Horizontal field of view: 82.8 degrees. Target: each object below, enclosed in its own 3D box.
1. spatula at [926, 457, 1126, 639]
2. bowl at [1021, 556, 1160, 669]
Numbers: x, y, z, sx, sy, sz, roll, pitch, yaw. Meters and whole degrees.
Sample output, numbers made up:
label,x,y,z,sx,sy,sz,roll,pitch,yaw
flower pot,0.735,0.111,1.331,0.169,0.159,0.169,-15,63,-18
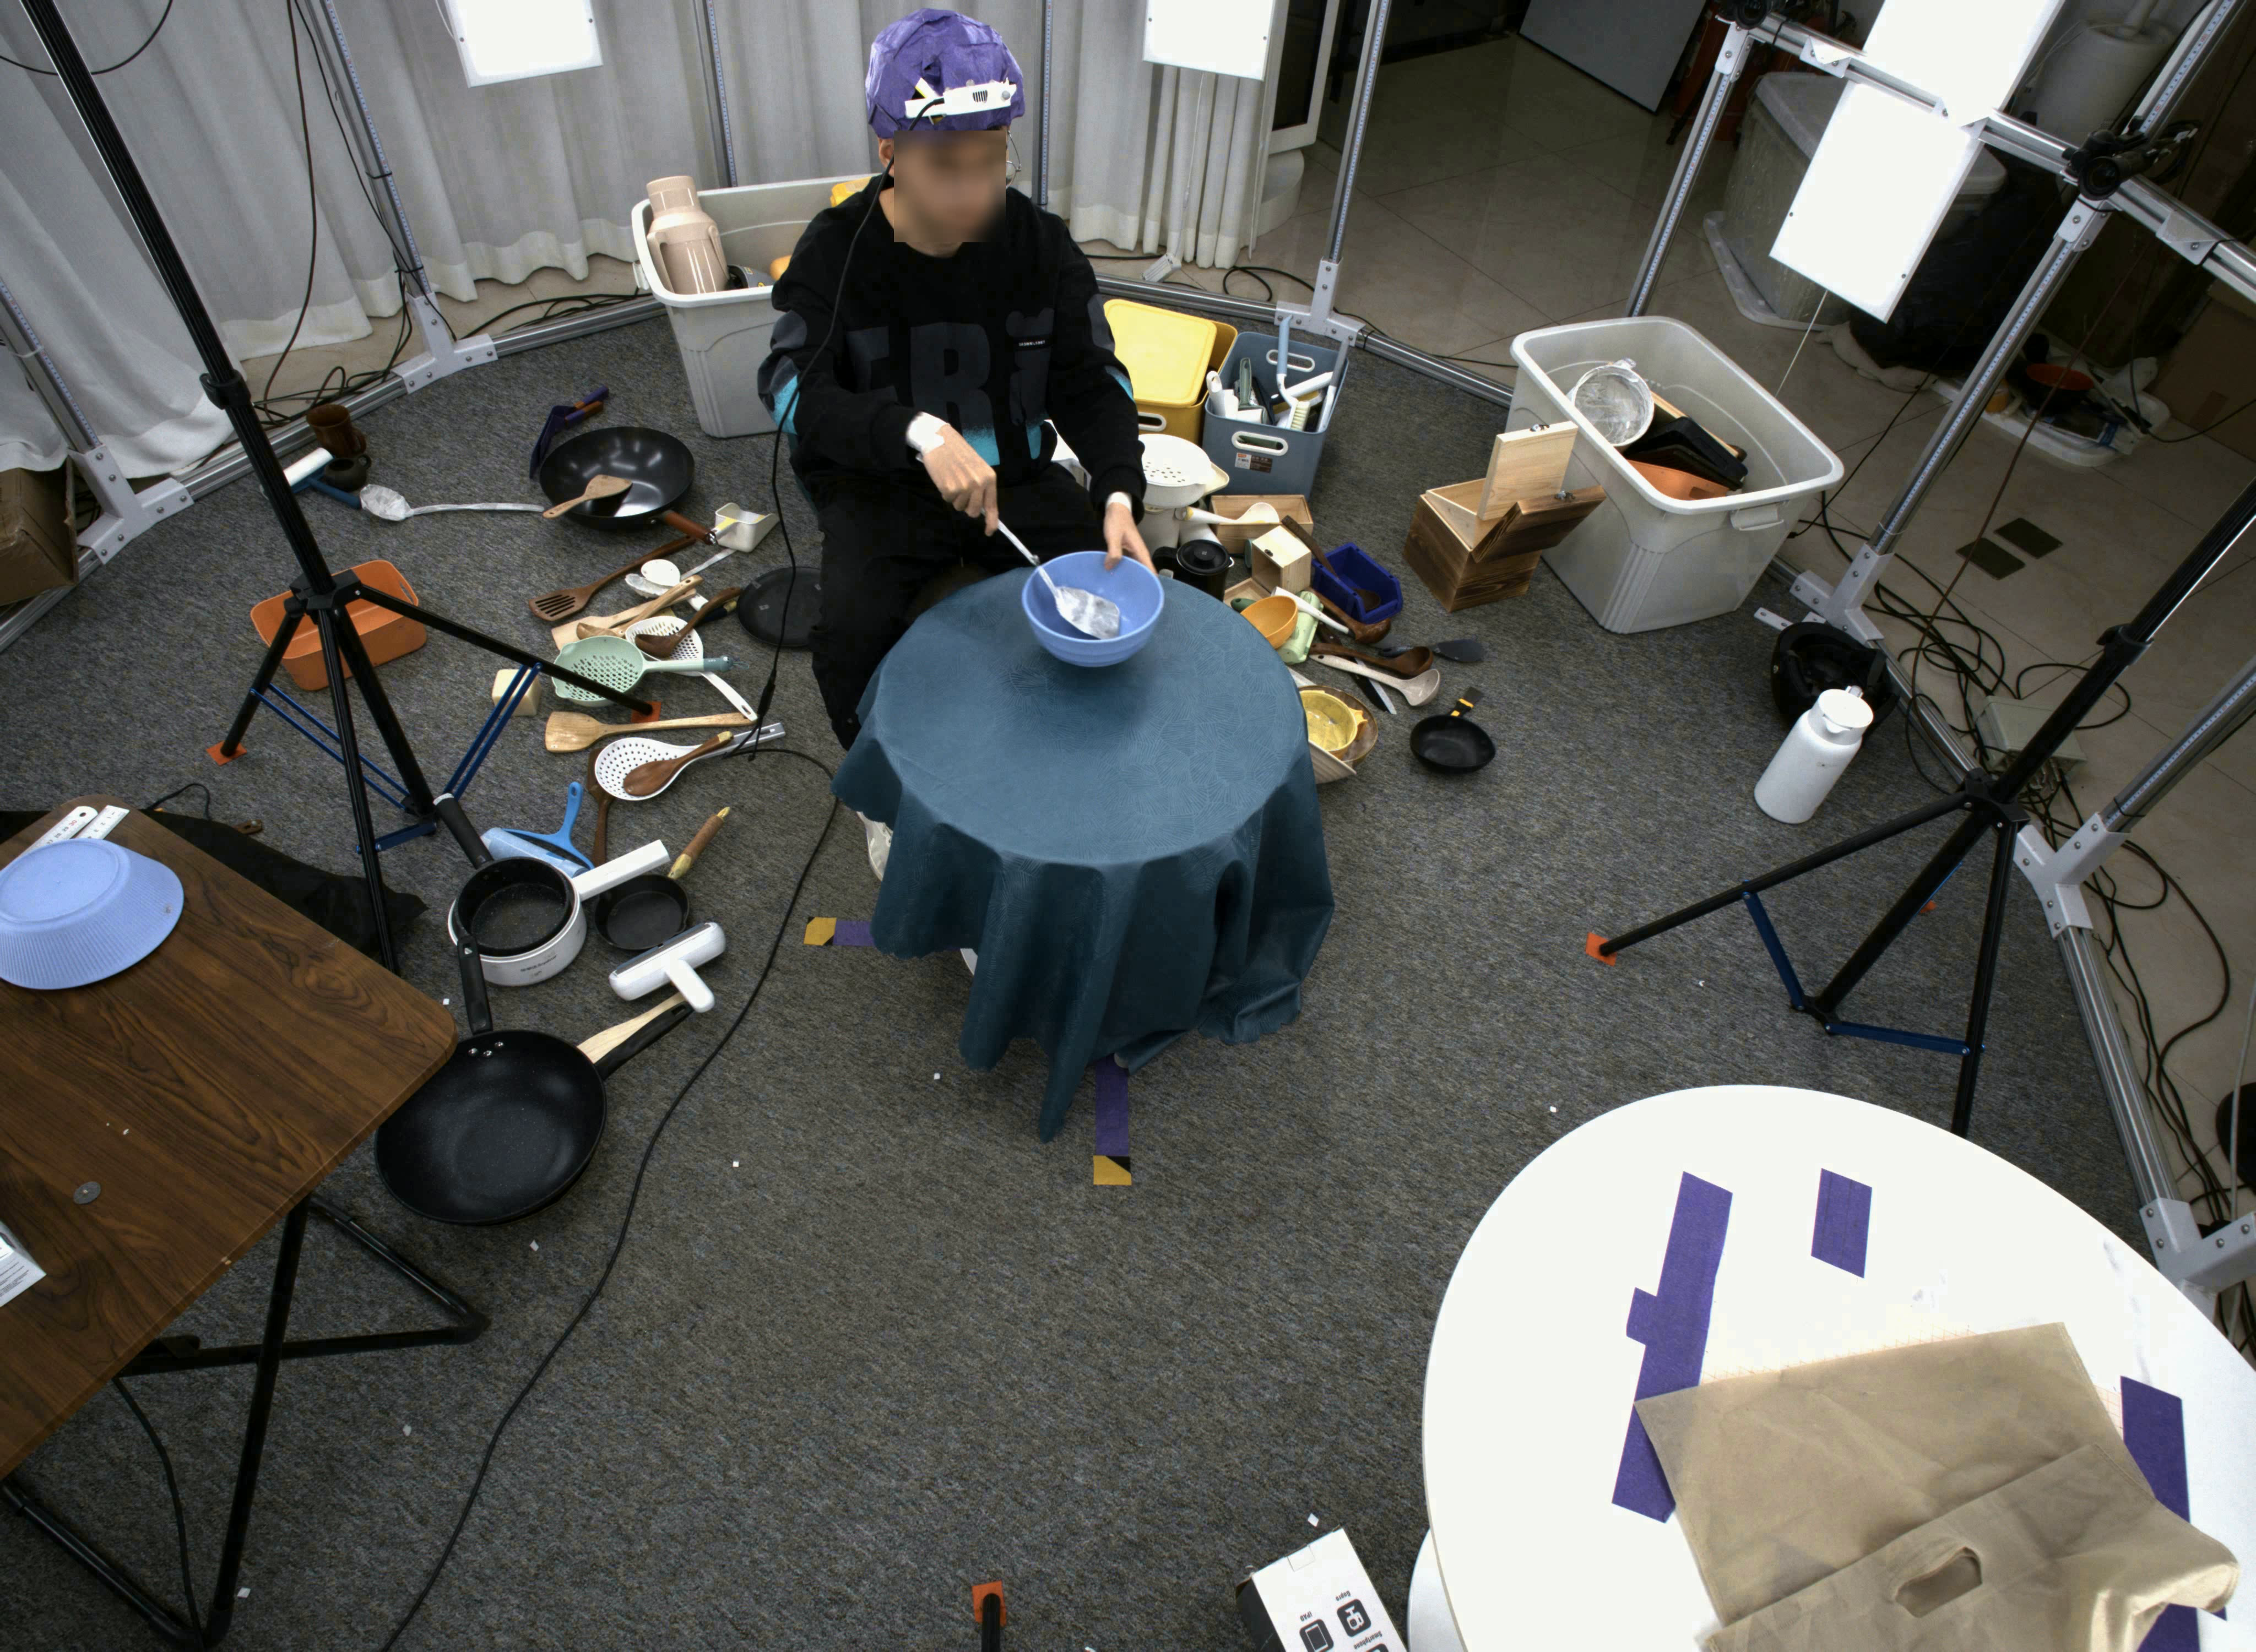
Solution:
label,x,y,z,sx,sy,sz,roll,pitch,yaw
spatula,-0.139,-0.386,1.804,0.359,0.044,0.101,44,34,-23
bowl,-0.051,-0.291,1.841,0.196,0.093,0.201,-1,48,1
